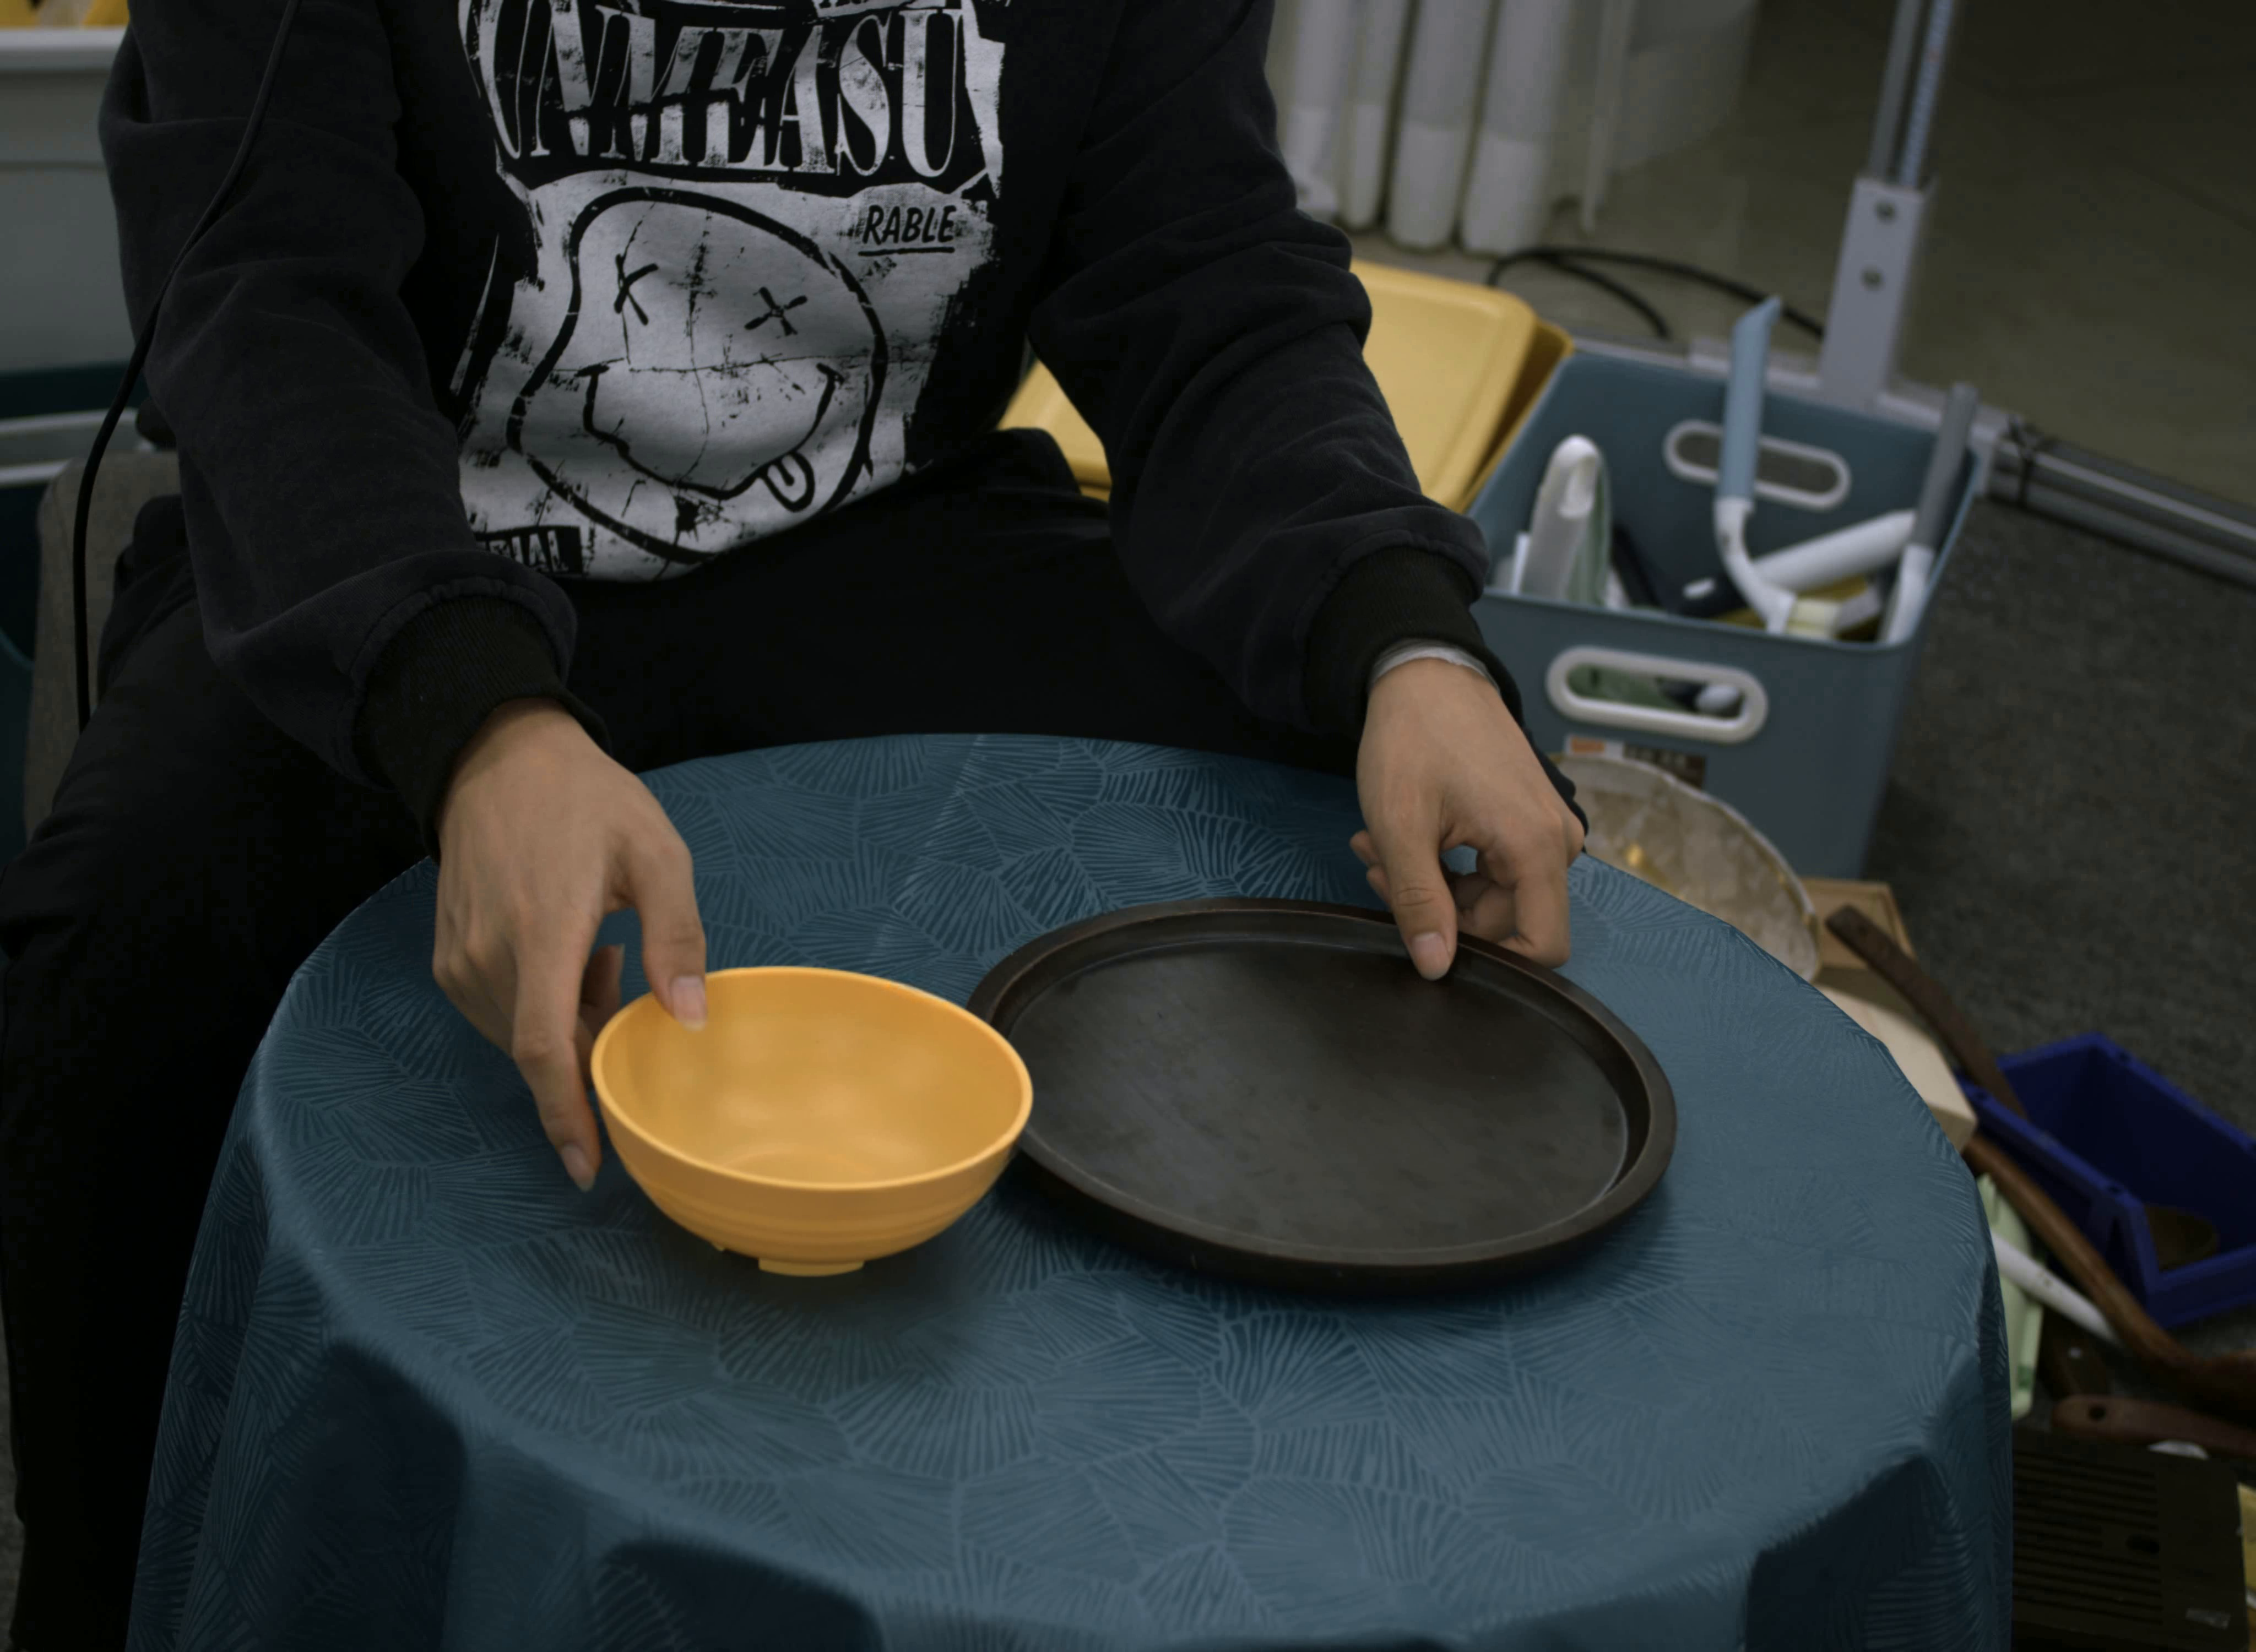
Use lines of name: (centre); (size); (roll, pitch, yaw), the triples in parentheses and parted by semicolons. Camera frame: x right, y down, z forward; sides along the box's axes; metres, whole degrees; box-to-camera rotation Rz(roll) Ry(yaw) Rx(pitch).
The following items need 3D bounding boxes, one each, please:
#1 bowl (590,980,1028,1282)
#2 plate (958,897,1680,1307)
bowl: (-0.107, 0.108, 1.746); (0.145, 0.060, 0.146); (6, 24, -3)
plate: (0.066, 0.094, 1.849); (0.254, 0.029, 0.256); (4, 27, -2)
